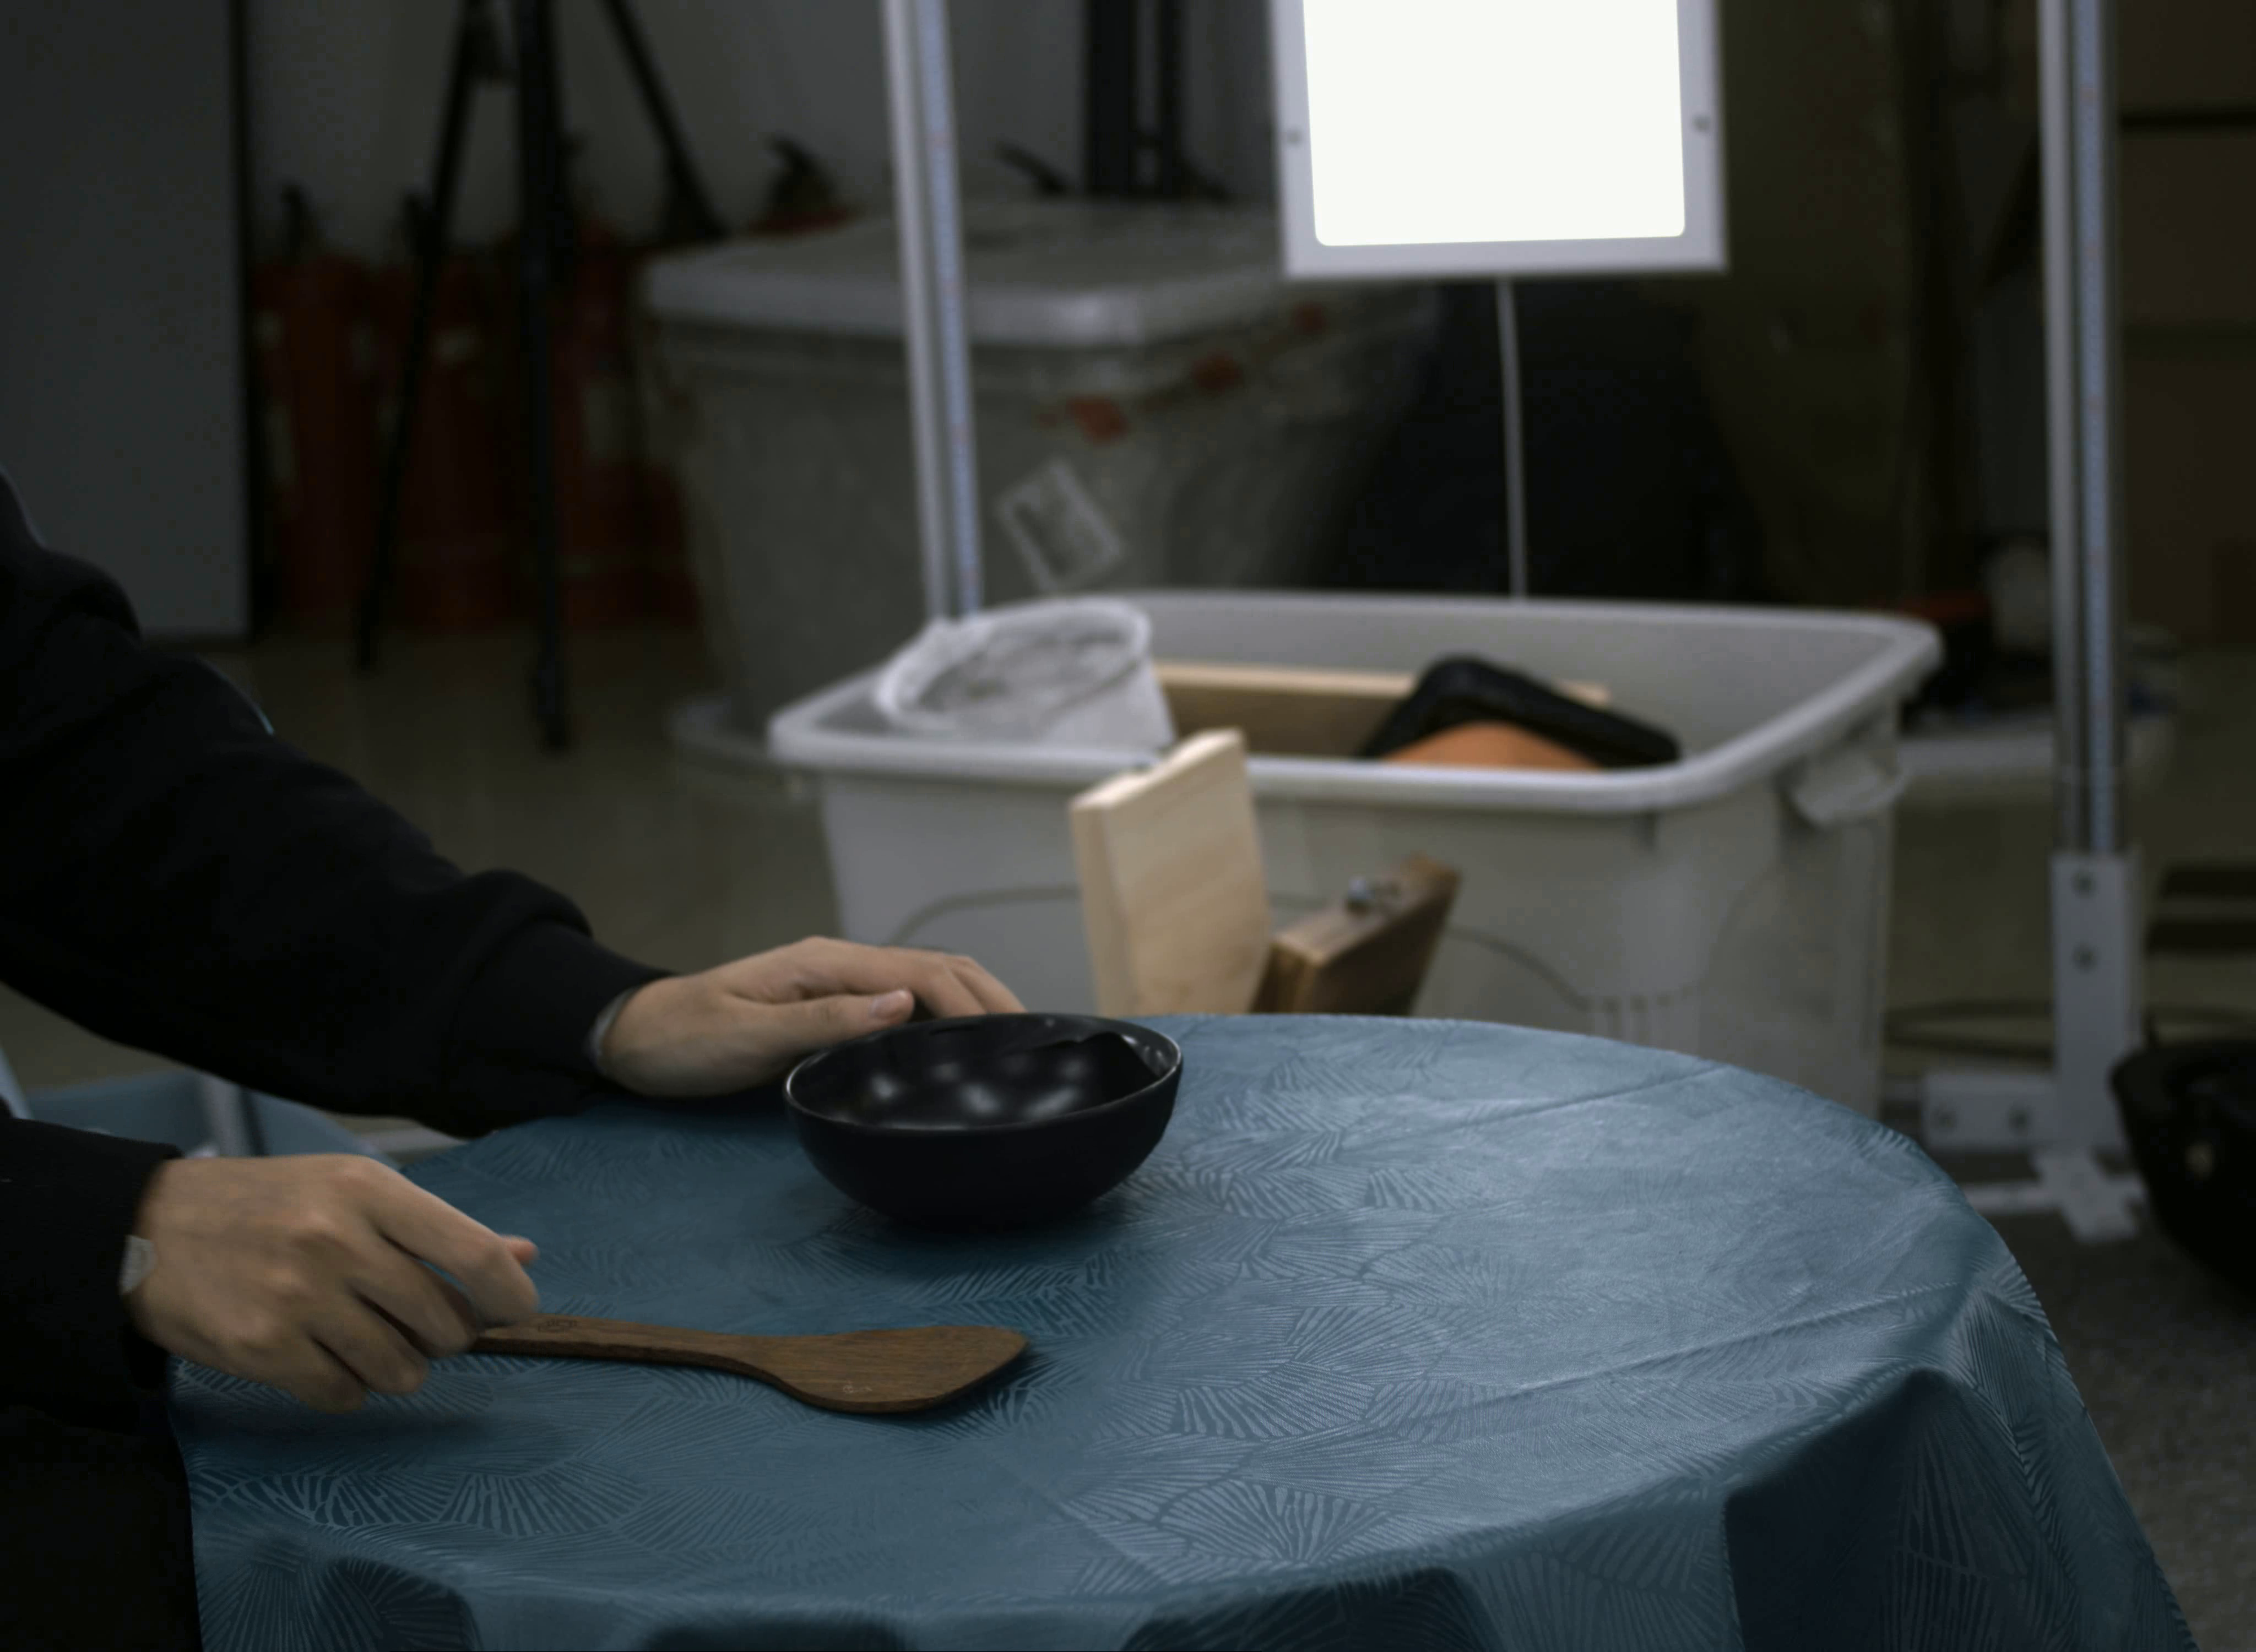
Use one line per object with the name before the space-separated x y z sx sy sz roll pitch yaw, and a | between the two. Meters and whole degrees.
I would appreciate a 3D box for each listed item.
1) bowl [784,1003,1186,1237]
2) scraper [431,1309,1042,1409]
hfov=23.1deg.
bowl | -0.047 0.106 1.895 0.139 0.050 0.140 -5 16 0
scraper | -0.130 0.167 1.762 0.215 0.011 0.074 2 14 29
